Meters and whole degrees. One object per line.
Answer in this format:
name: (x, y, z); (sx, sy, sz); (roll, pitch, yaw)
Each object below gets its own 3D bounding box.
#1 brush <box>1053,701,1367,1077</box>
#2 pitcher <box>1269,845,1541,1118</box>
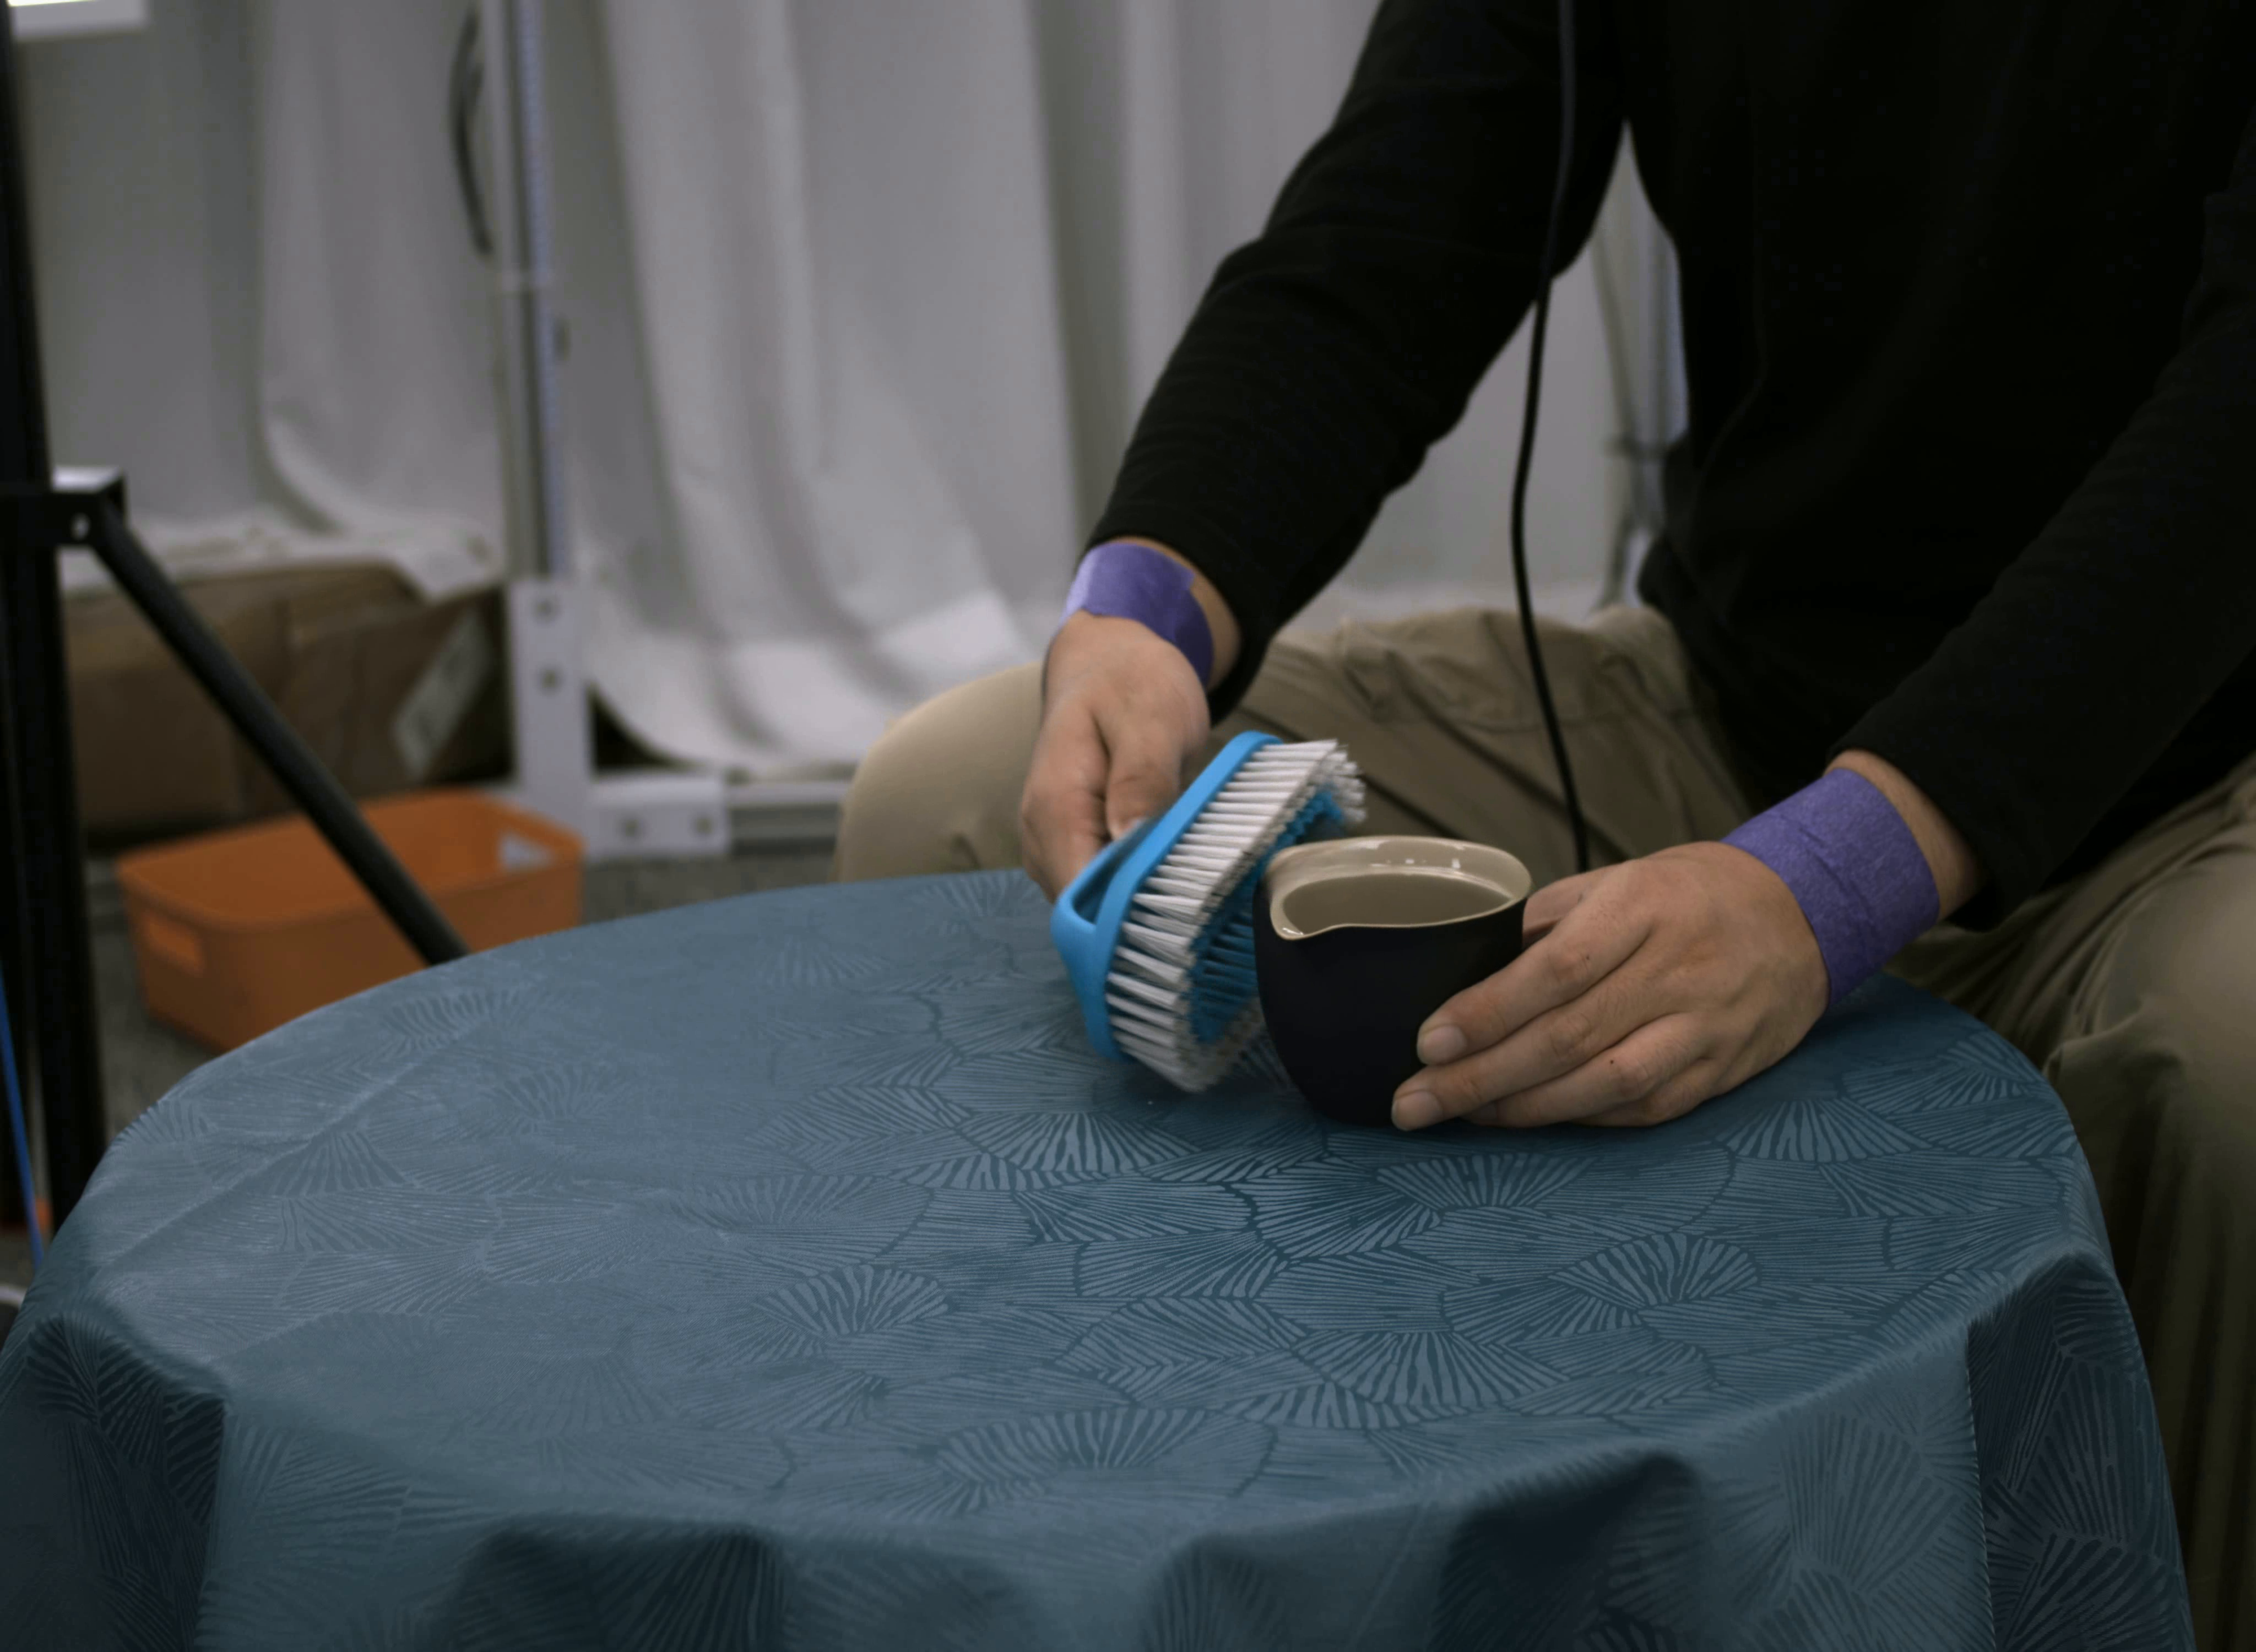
brush: (0.019, 0.018, 1.674); (0.065, 0.083, 0.140); (9, 38, 29)
pitcher: (0.081, 0.049, 1.615); (0.085, 0.071, 0.094); (15, 25, 40)
